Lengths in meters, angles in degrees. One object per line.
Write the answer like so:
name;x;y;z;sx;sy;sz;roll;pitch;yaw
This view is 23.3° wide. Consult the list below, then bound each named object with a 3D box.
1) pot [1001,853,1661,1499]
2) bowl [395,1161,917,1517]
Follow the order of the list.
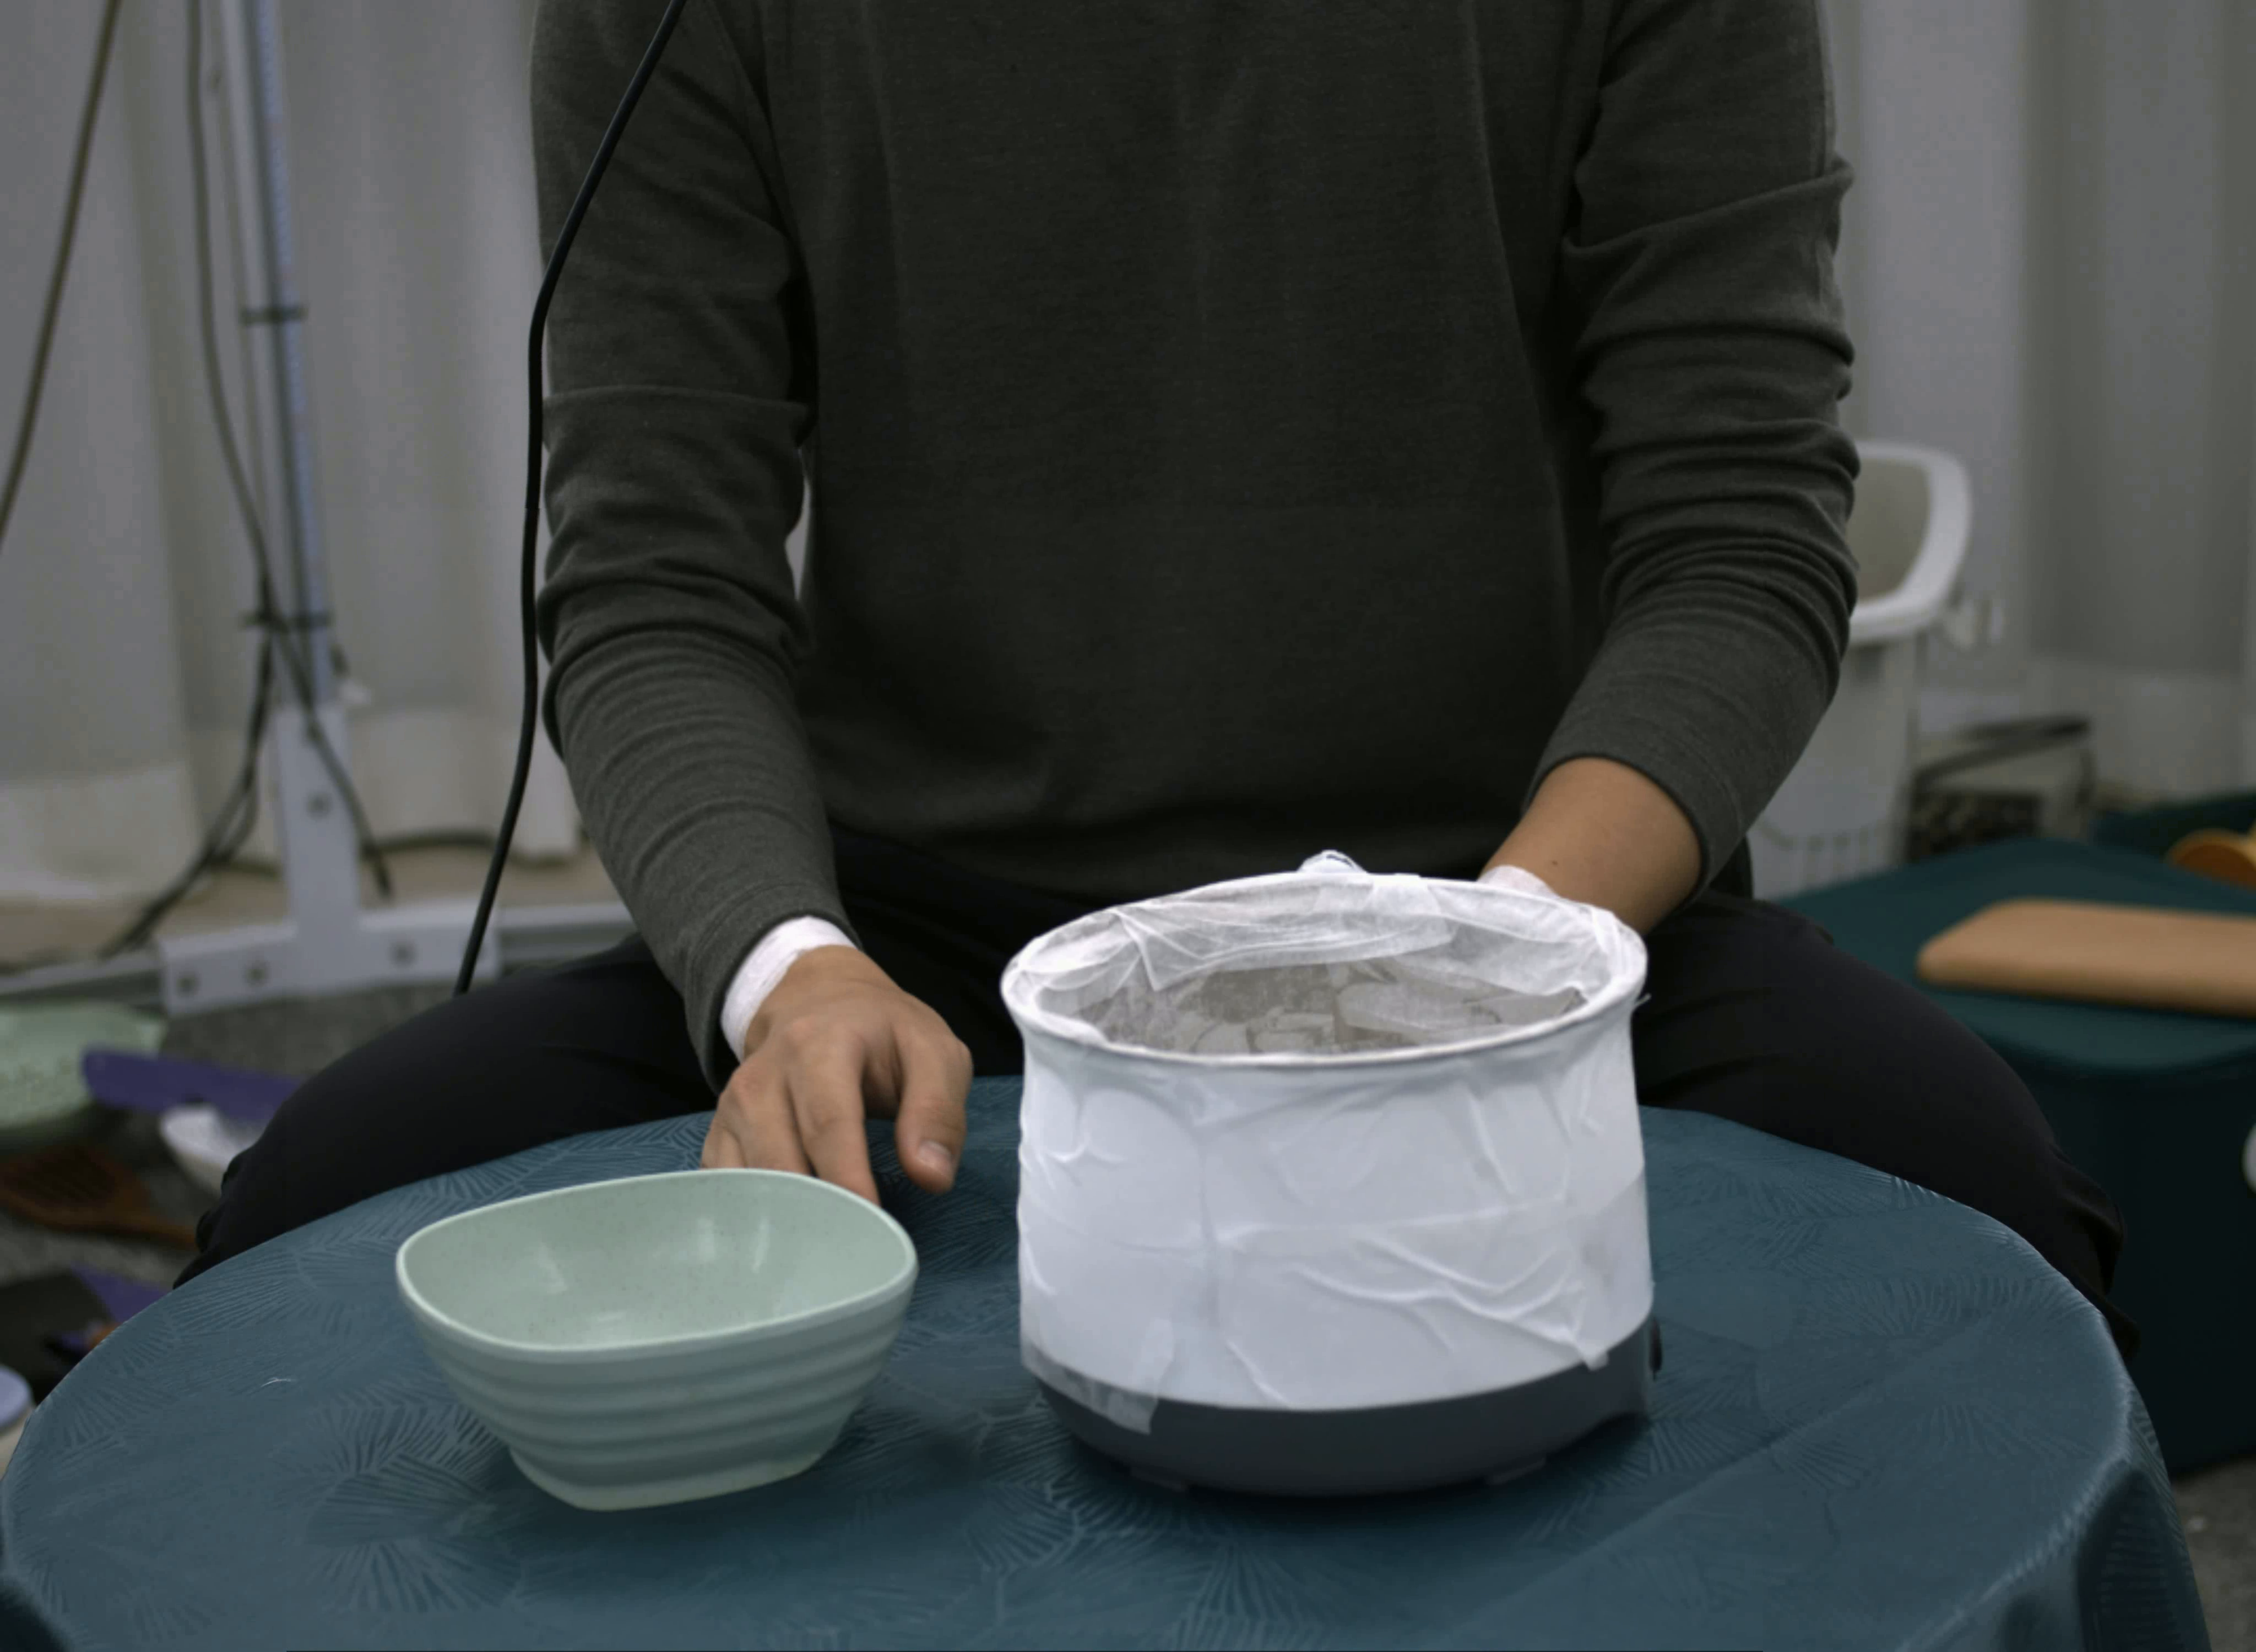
pot;0.057;0.092;1.529;0.178;0.136;0.235;-2;14;3
bowl;-0.129;0.146;1.515;0.151;0.058;0.152;-3;16;0
